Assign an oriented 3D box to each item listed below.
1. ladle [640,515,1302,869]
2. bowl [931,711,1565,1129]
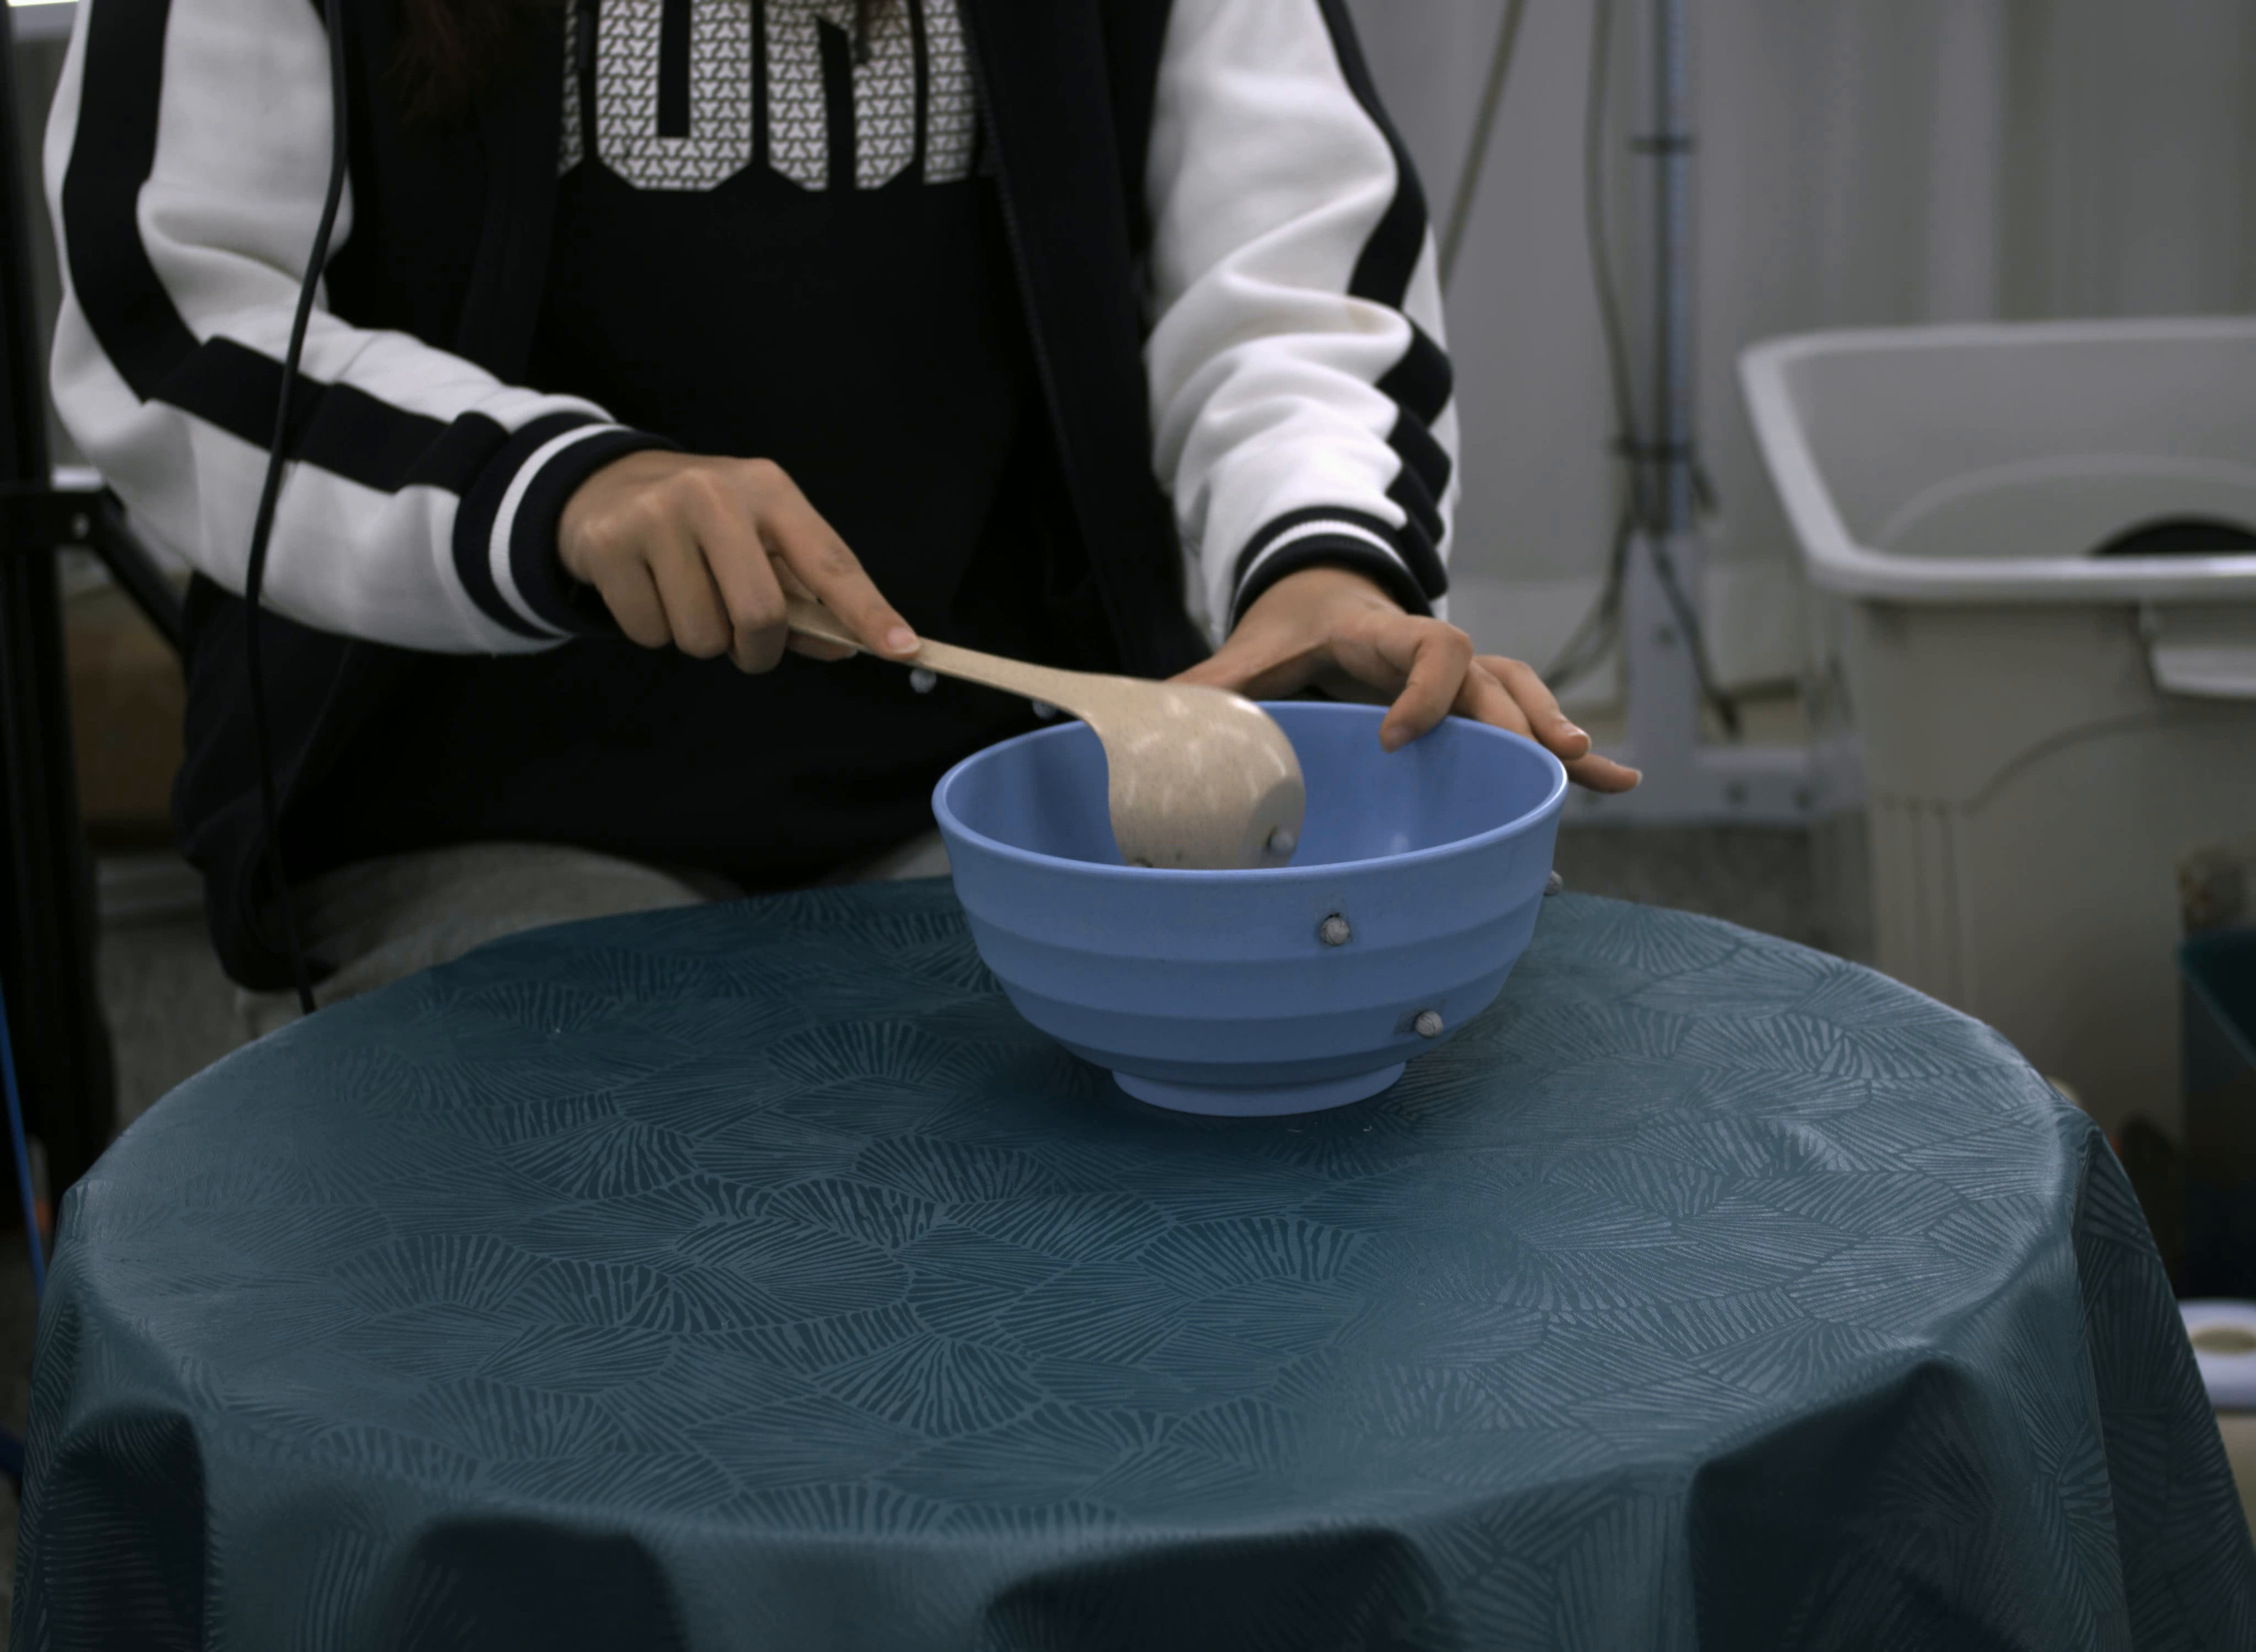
[{"bbox_3d":[-0.056,-0.033,1.726,0.260,0.072,0.071,22,47,33],"label":"ladle"},{"bbox_3d":[0.039,0.035,1.649,0.195,0.095,0.197,-4,15,0],"label":"bowl"}]
